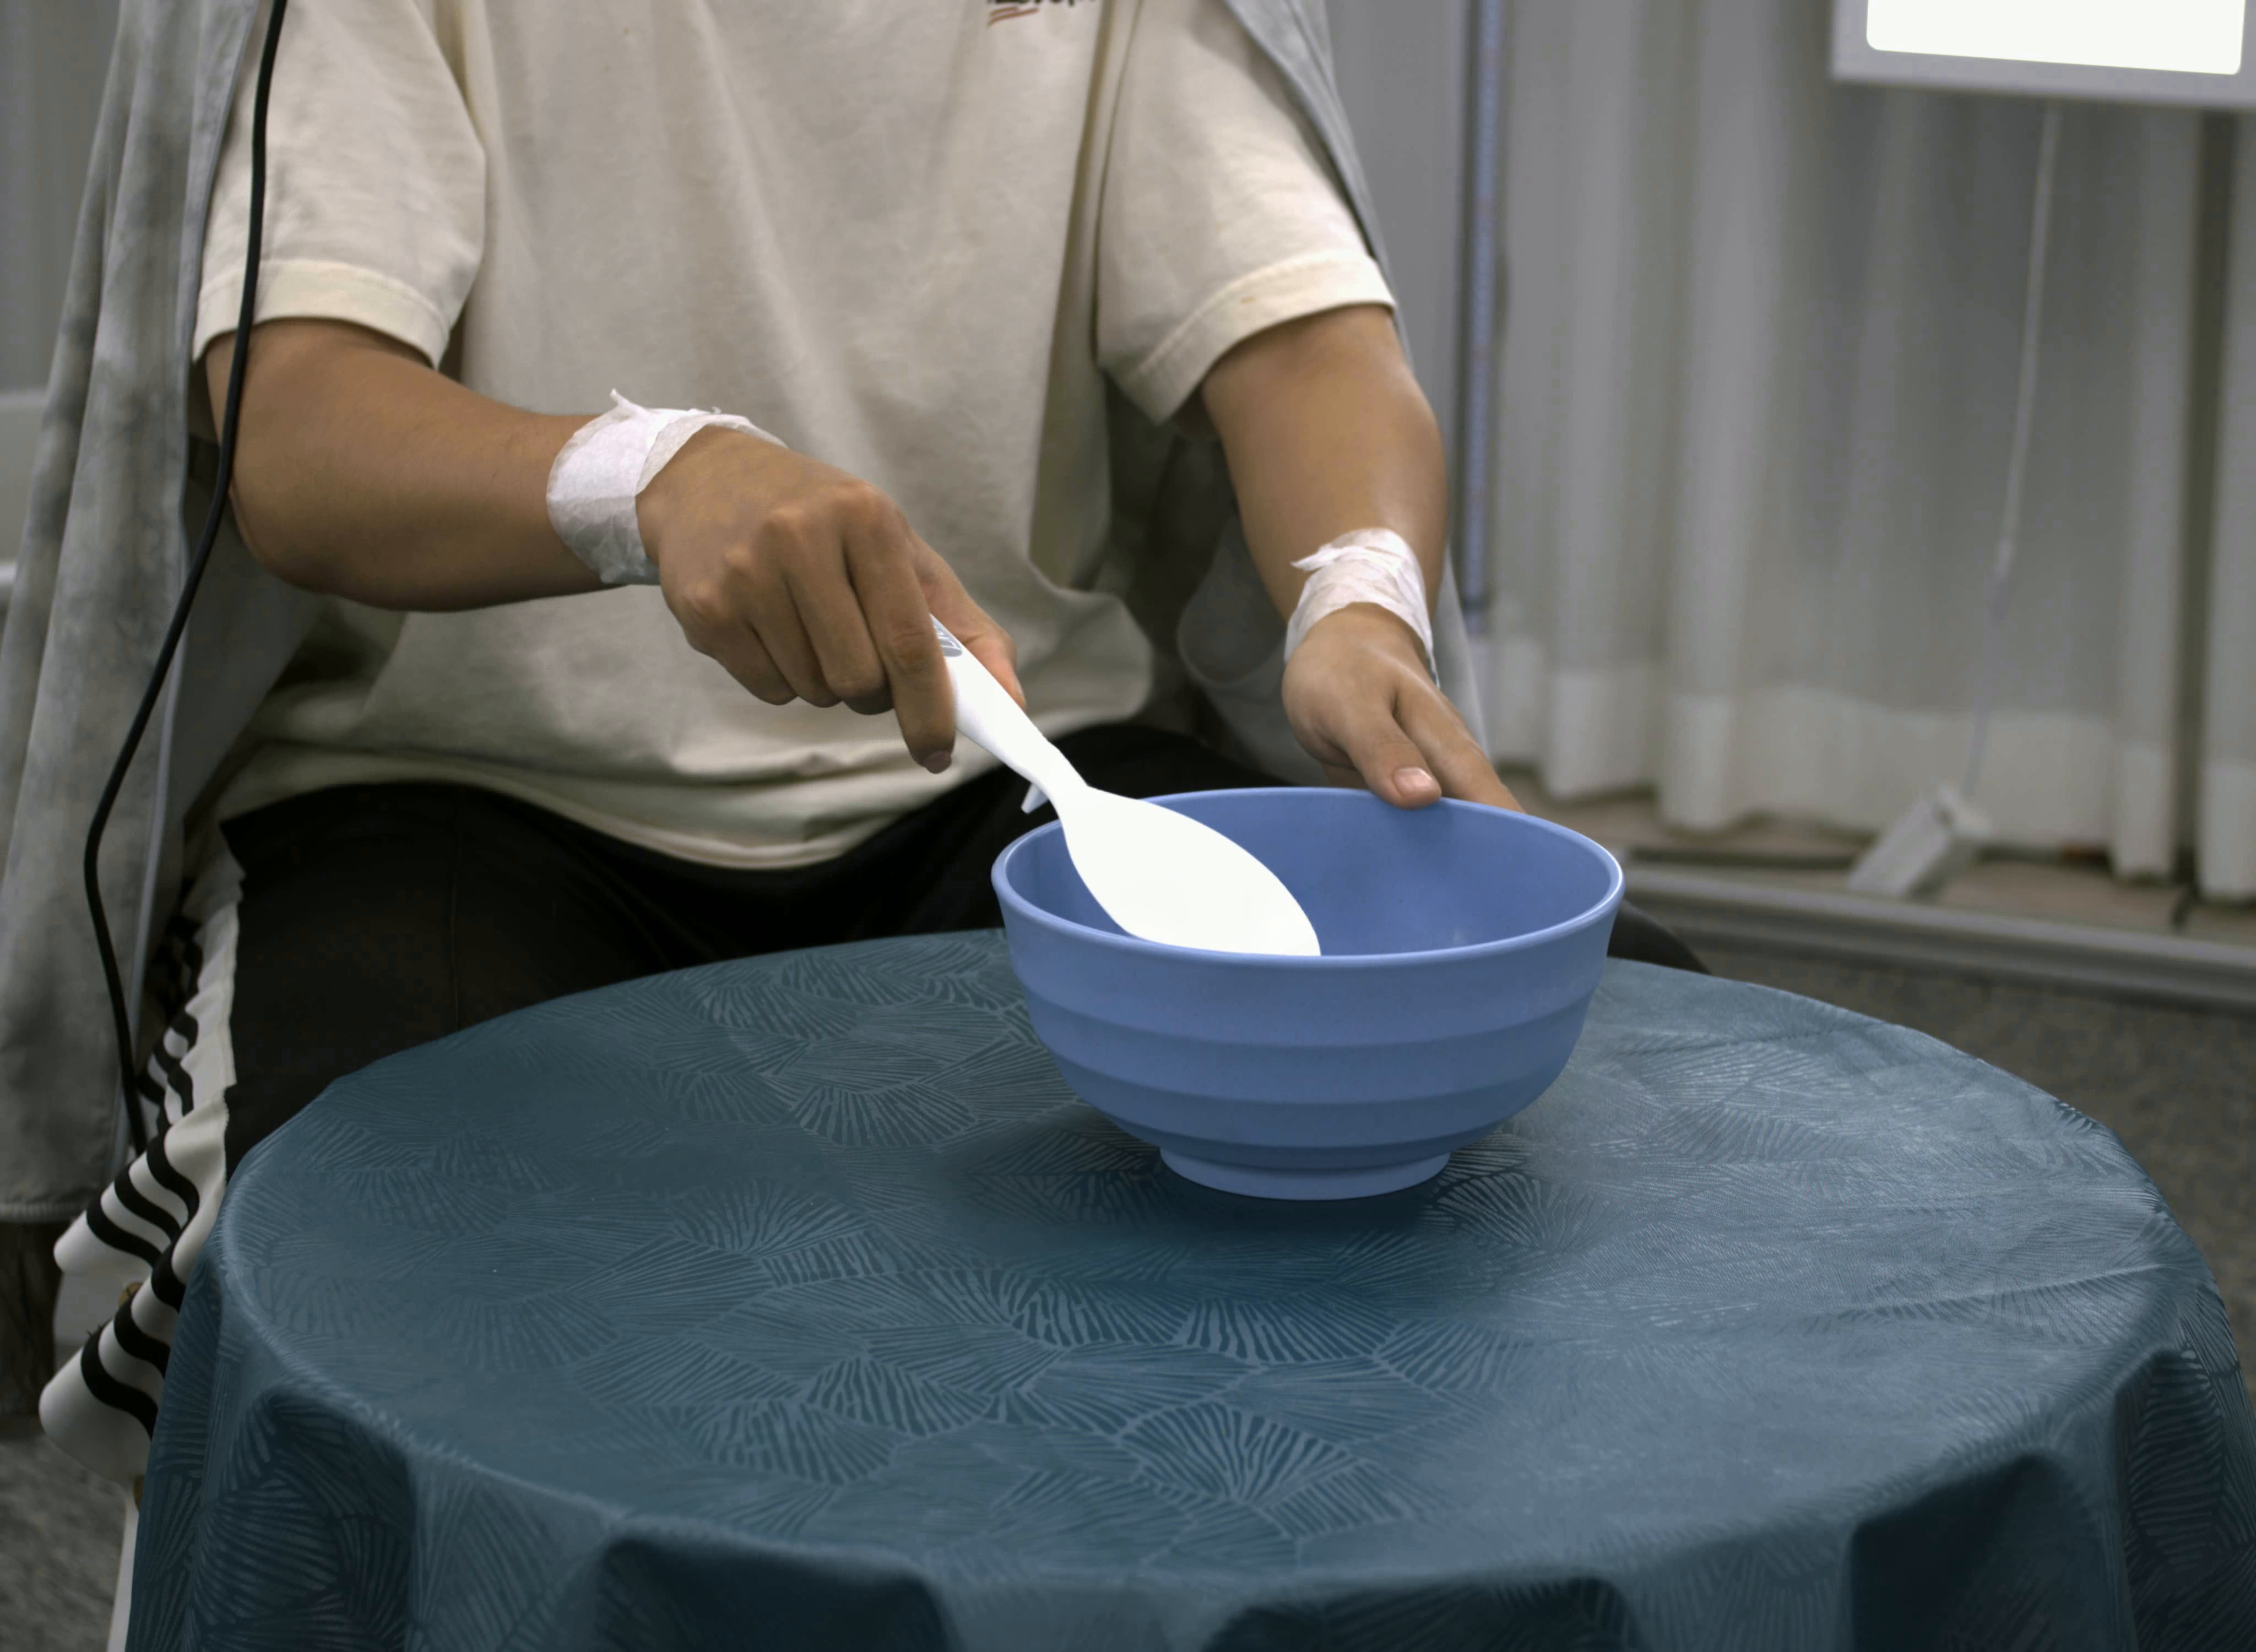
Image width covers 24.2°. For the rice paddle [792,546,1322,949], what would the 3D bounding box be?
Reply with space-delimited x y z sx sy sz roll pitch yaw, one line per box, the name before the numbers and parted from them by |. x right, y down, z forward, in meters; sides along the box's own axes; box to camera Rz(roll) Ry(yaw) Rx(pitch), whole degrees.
rice paddle | -0.020 -0.015 1.650 0.204 0.029 0.069 40 41 13

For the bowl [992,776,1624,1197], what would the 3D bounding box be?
bowl | 0.056 0.056 1.648 0.196 0.096 0.195 0 18 0
